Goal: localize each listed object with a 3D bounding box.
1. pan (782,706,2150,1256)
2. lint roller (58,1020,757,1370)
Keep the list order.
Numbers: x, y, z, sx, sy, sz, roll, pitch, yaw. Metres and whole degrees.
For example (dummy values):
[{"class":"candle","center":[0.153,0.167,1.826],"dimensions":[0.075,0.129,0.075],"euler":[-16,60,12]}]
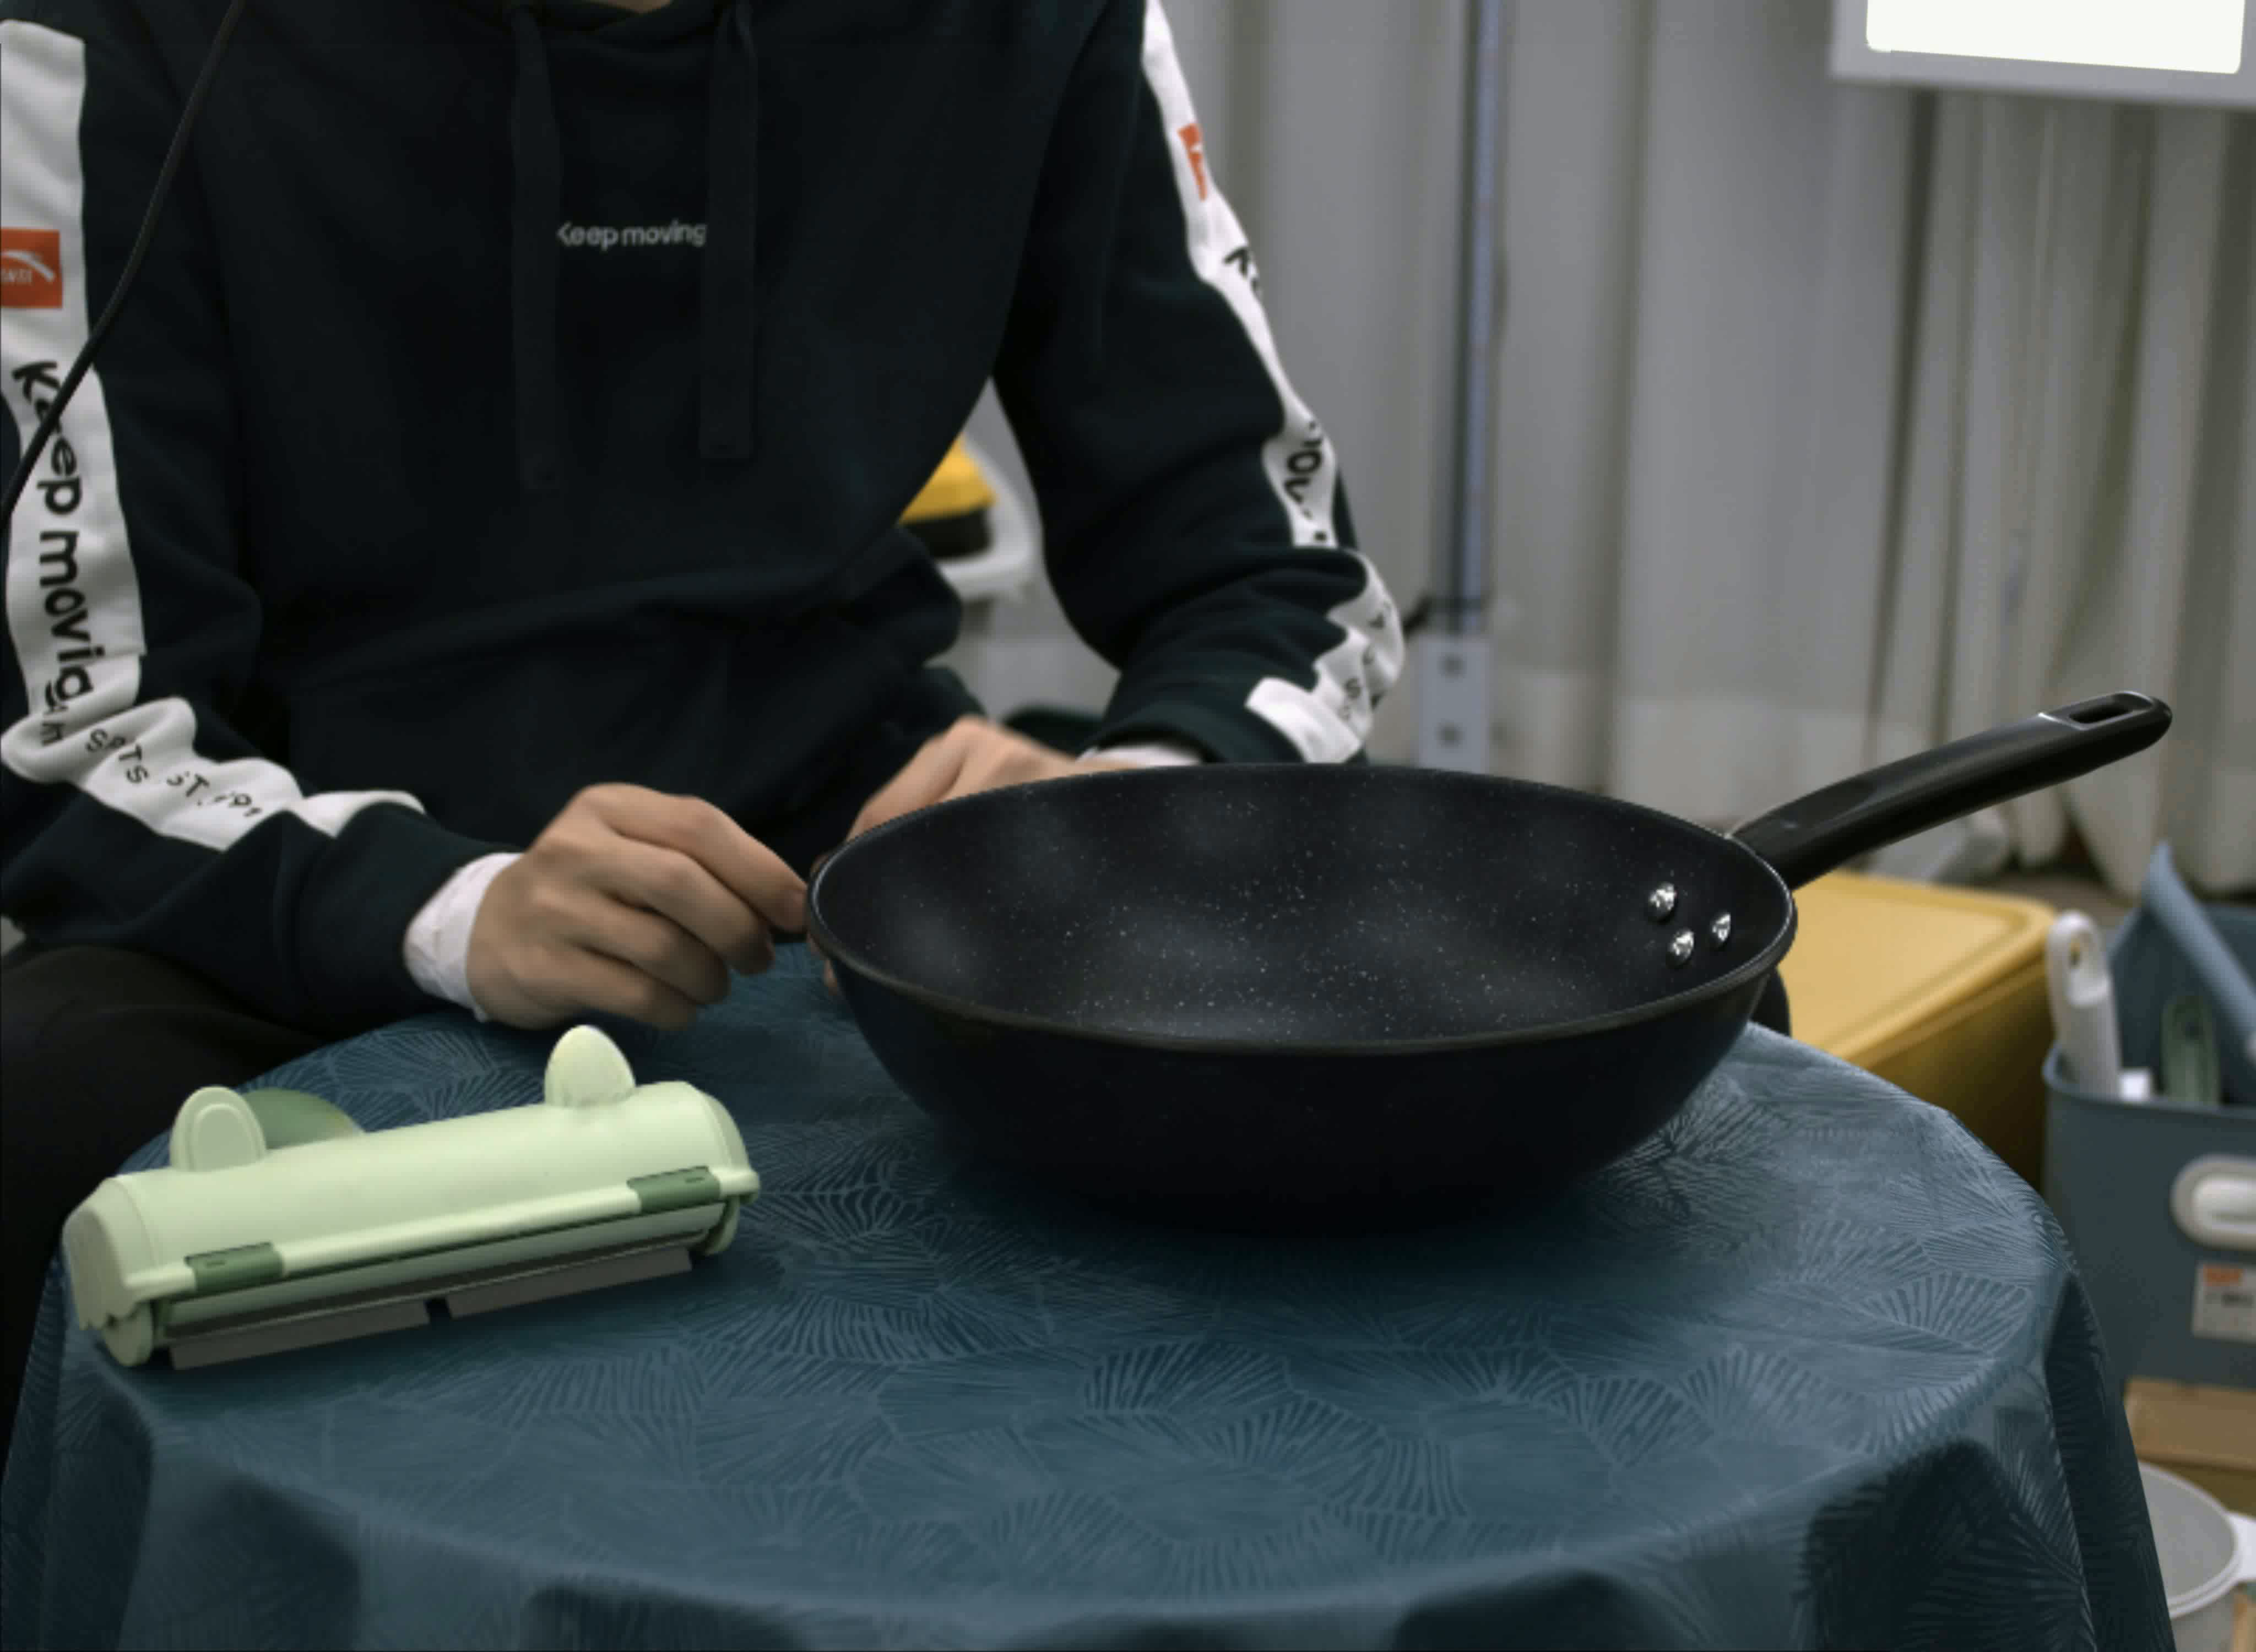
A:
[{"class":"pan","center":[0.123,0.043,1.675],"dimensions":[0.478,0.112,0.306],"euler":[-8,19,-25]},{"class":"lint roller","center":[-0.233,0.089,1.554],"dimensions":[0.199,0.083,0.181],"euler":[-9,24,-29]}]
